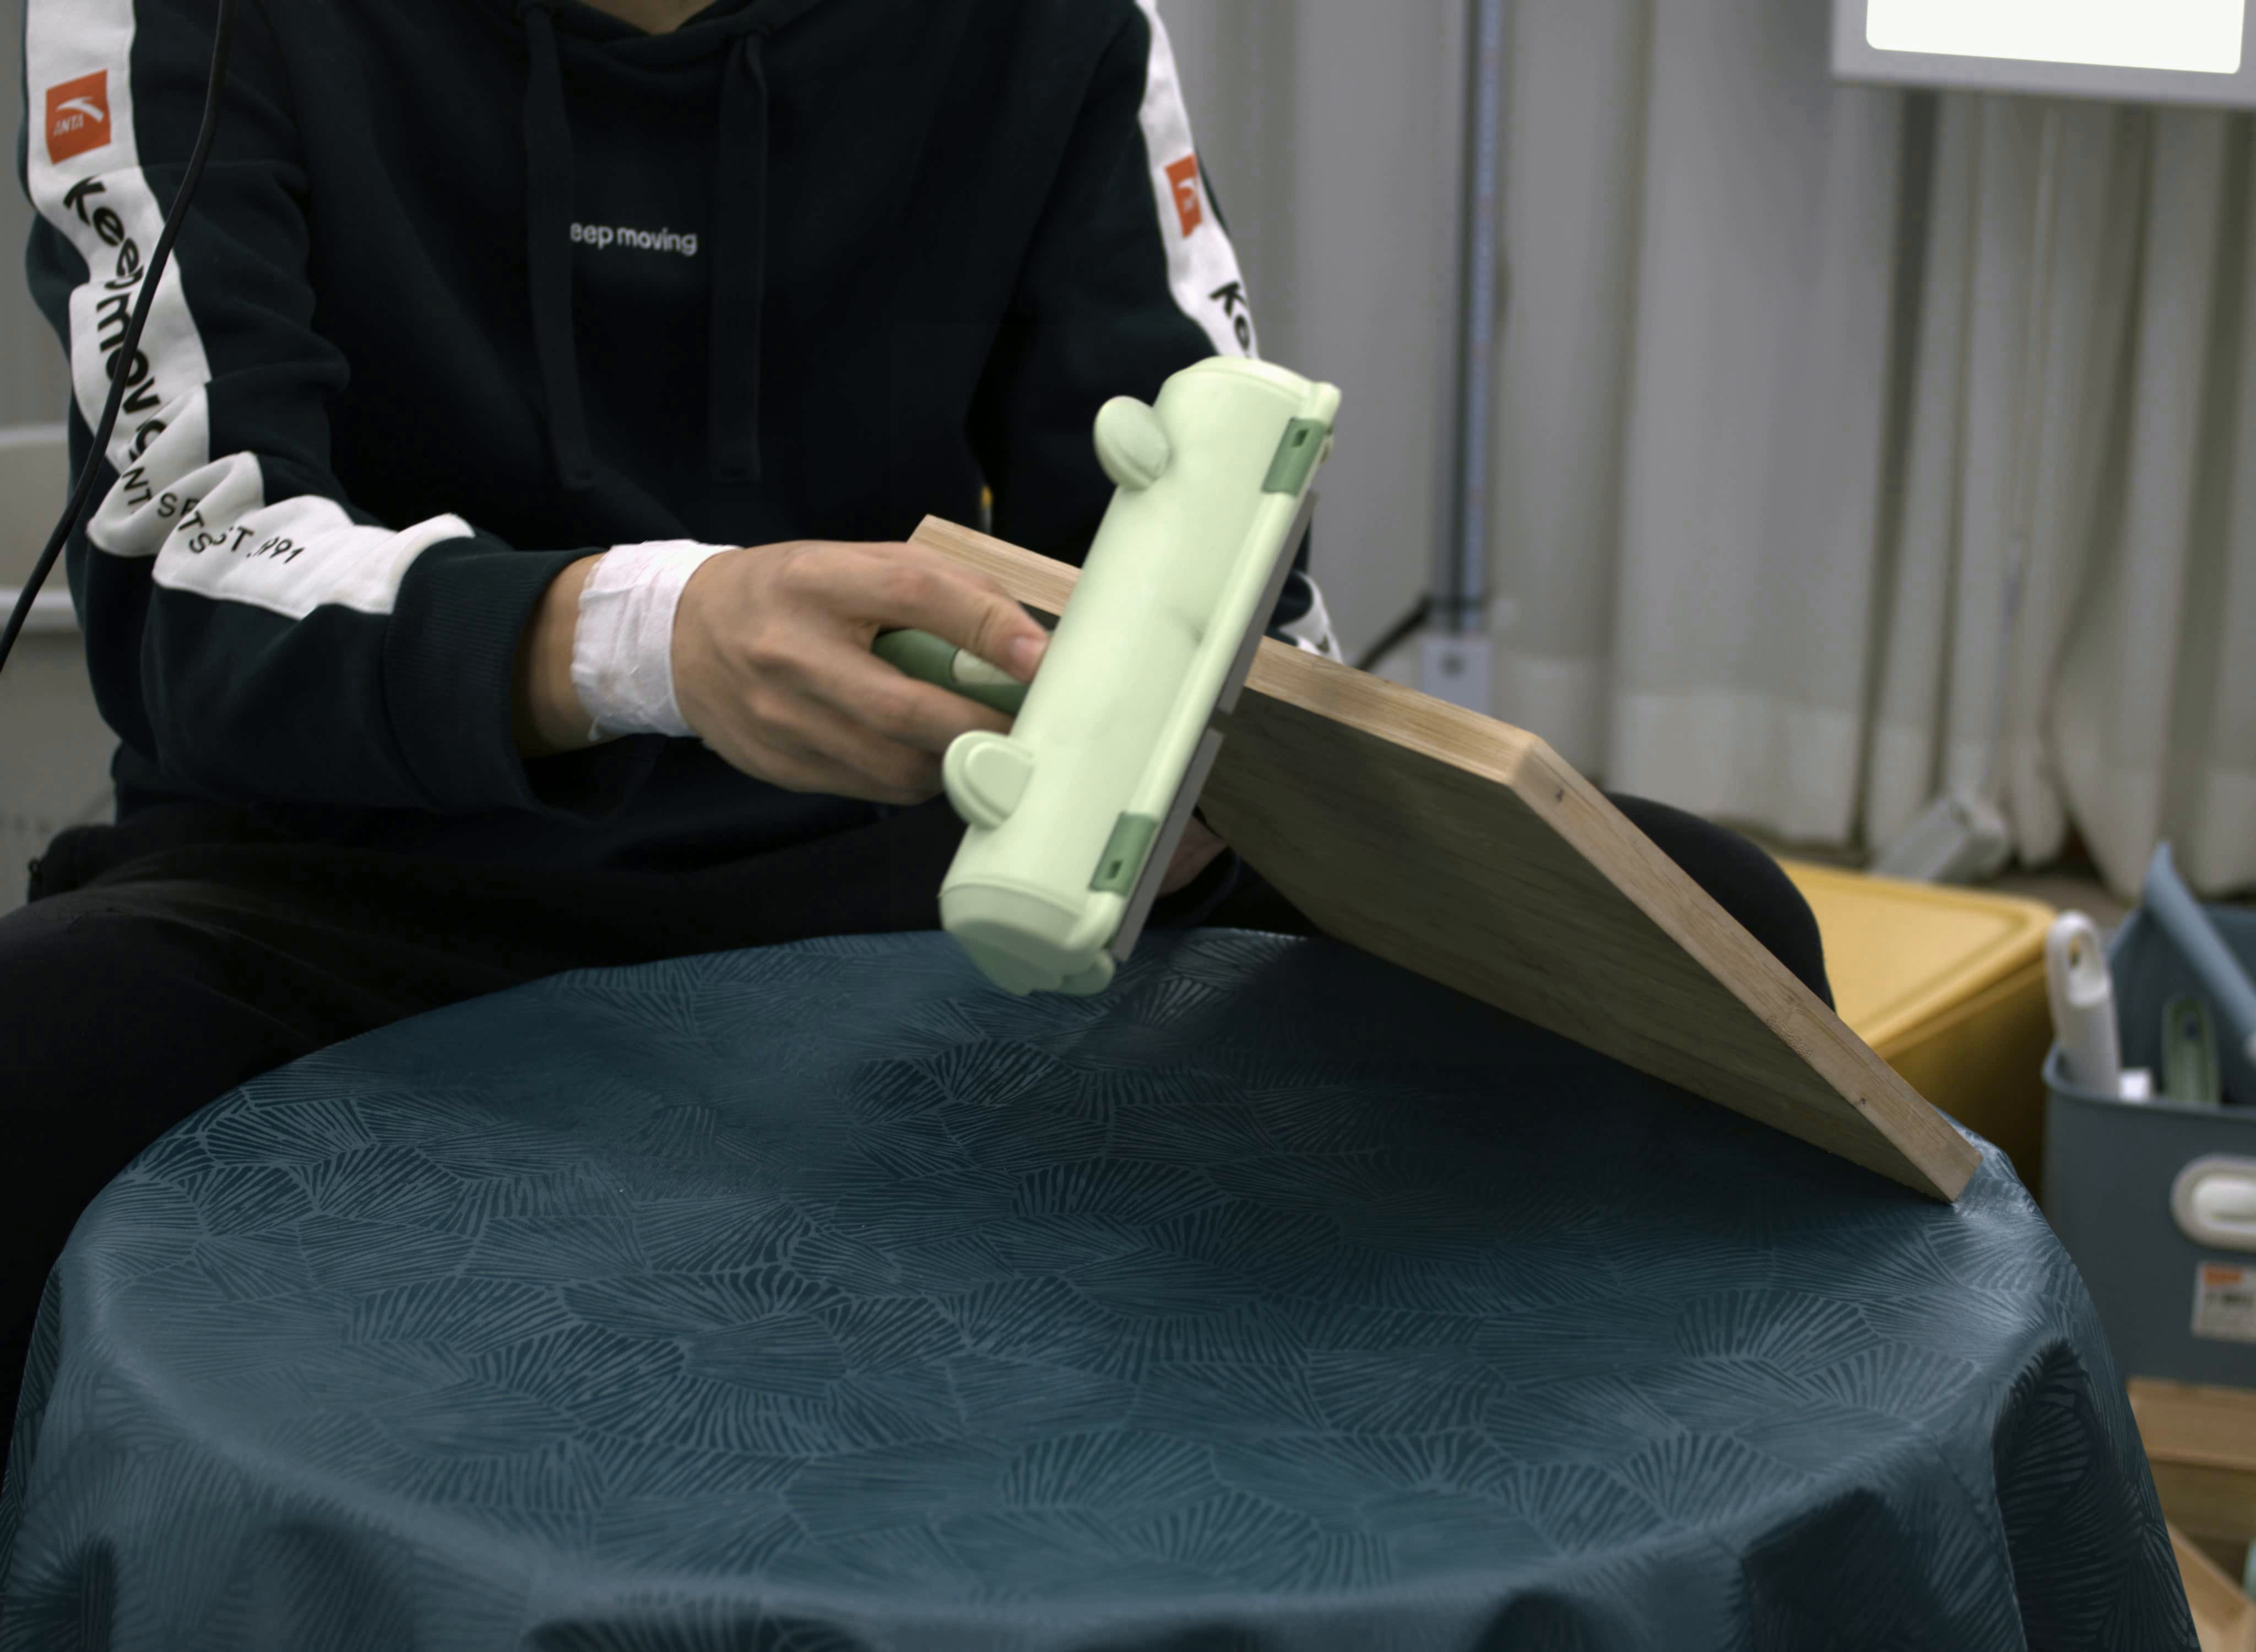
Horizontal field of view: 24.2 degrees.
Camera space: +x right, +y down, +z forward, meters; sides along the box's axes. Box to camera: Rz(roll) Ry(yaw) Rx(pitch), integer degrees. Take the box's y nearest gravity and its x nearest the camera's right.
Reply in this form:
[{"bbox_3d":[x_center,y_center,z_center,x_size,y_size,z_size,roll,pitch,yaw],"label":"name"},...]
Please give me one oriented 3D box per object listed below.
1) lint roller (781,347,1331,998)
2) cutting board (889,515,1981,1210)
[{"bbox_3d":[-0.046,-0.051,1.526,0.181,0.198,0.083,5,-29,37],"label":"lint roller"},{"bbox_3d":[0.090,0.007,1.681,0.254,0.023,0.344,42,-11,-36],"label":"cutting board"}]
